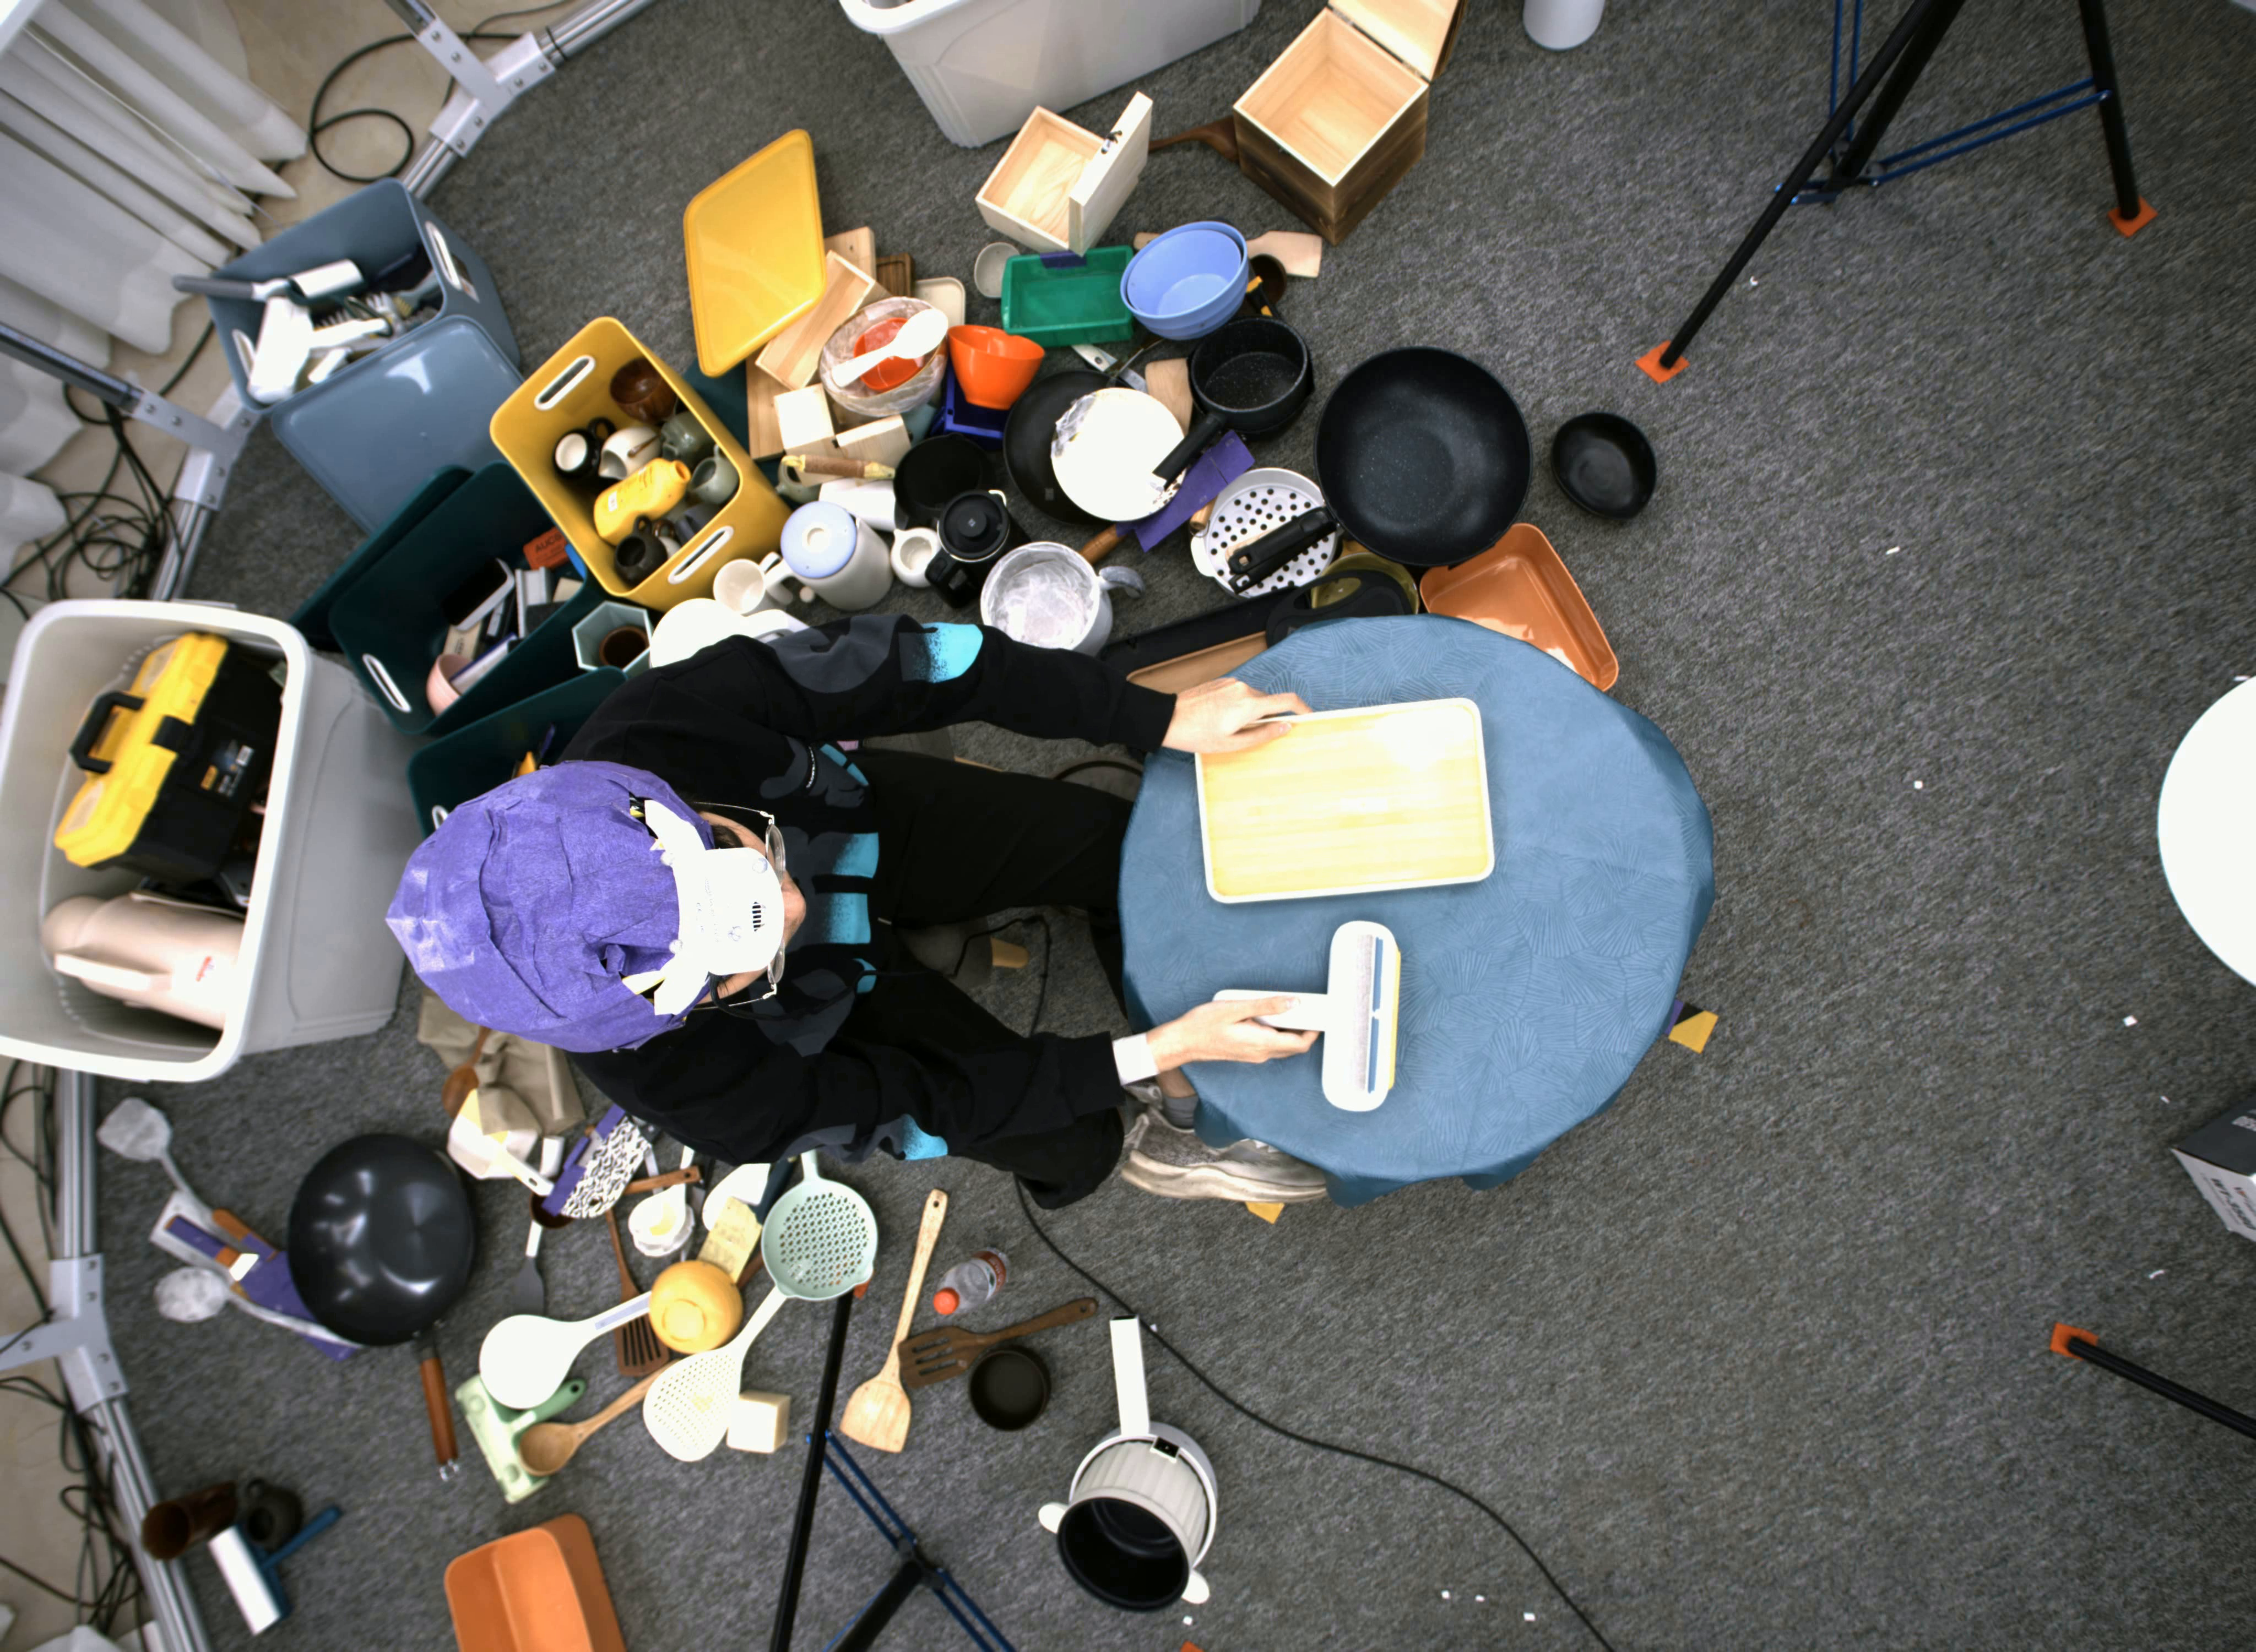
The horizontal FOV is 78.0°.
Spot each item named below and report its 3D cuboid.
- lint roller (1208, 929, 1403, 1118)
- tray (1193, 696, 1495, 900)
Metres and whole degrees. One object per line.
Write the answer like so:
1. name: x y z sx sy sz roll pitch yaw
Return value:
1. lint roller: 0.178 0.193 1.426 0.193 0.074 0.191 8 83 5
2. tray: 0.224 -0.029 1.447 0.301 0.027 0.191 -5 91 10
